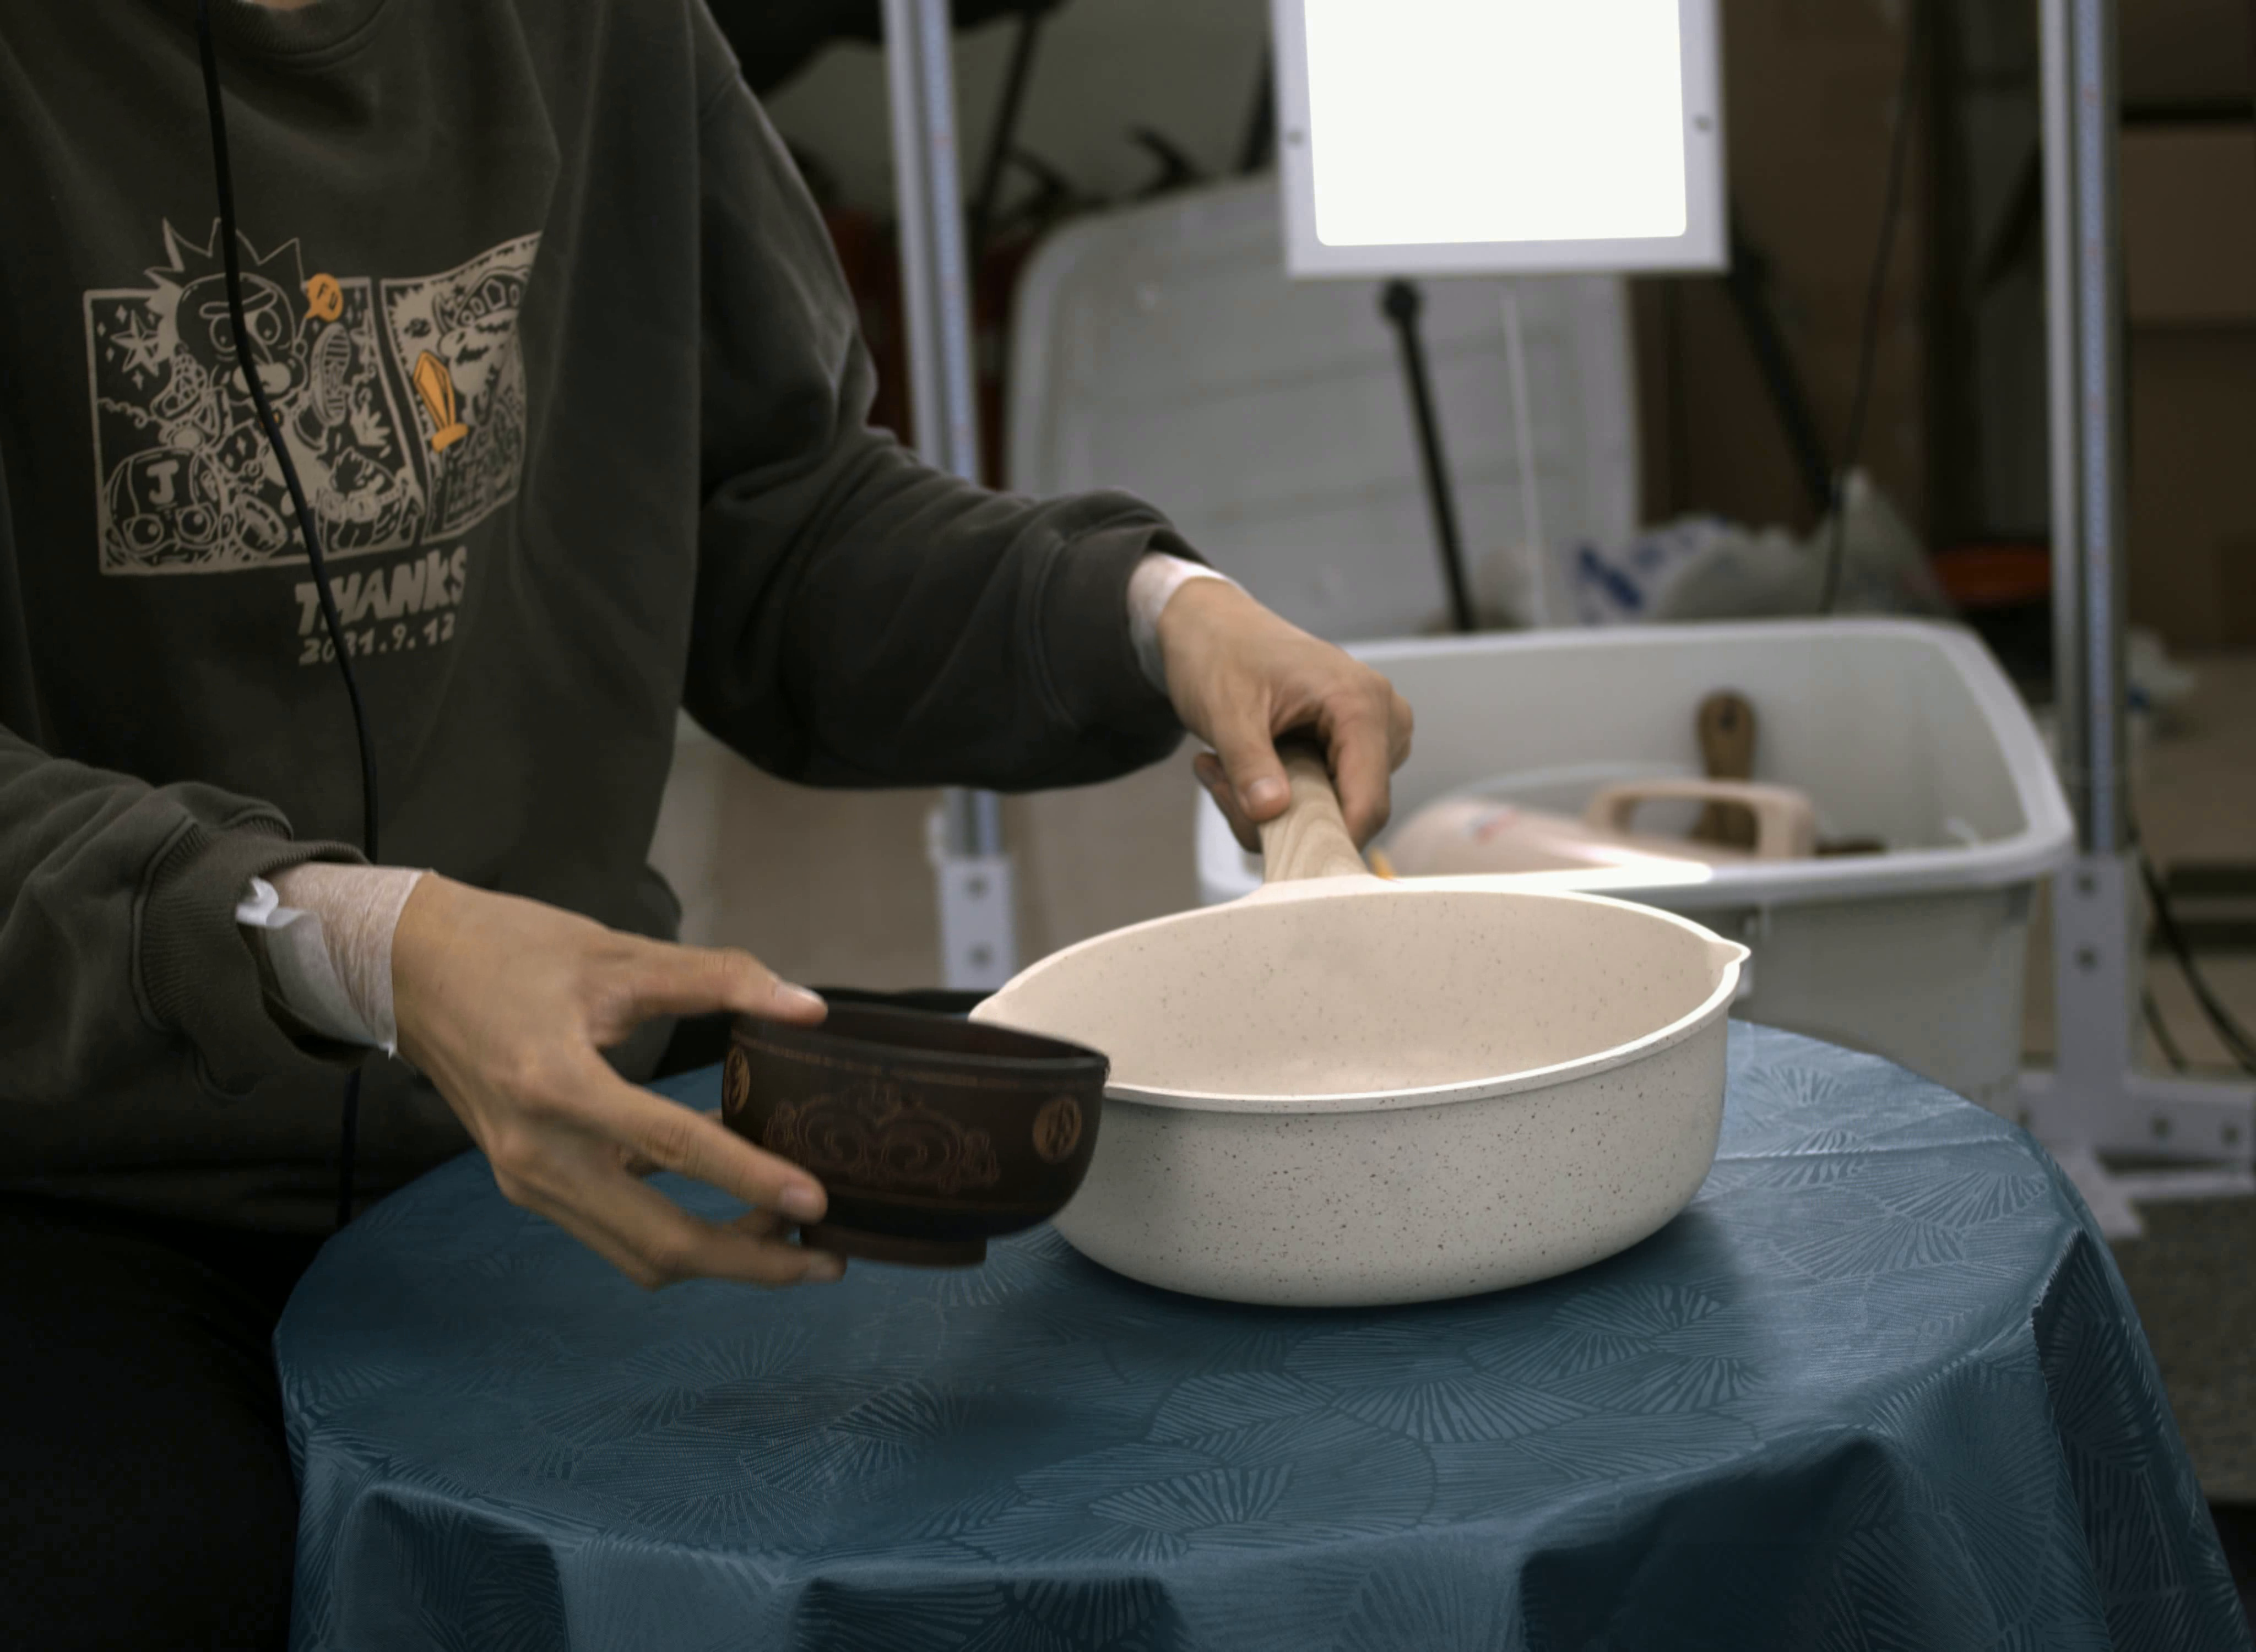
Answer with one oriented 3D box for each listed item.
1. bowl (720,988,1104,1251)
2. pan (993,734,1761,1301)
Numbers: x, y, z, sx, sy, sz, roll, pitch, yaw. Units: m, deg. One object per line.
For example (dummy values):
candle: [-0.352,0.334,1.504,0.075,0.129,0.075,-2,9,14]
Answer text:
bowl: [-0.068,0.091,1.685,0.117,0.070,0.118,6,3,-2]
pan: [0.078,0.062,1.924,0.262,0.102,0.435,-8,14,-2]
